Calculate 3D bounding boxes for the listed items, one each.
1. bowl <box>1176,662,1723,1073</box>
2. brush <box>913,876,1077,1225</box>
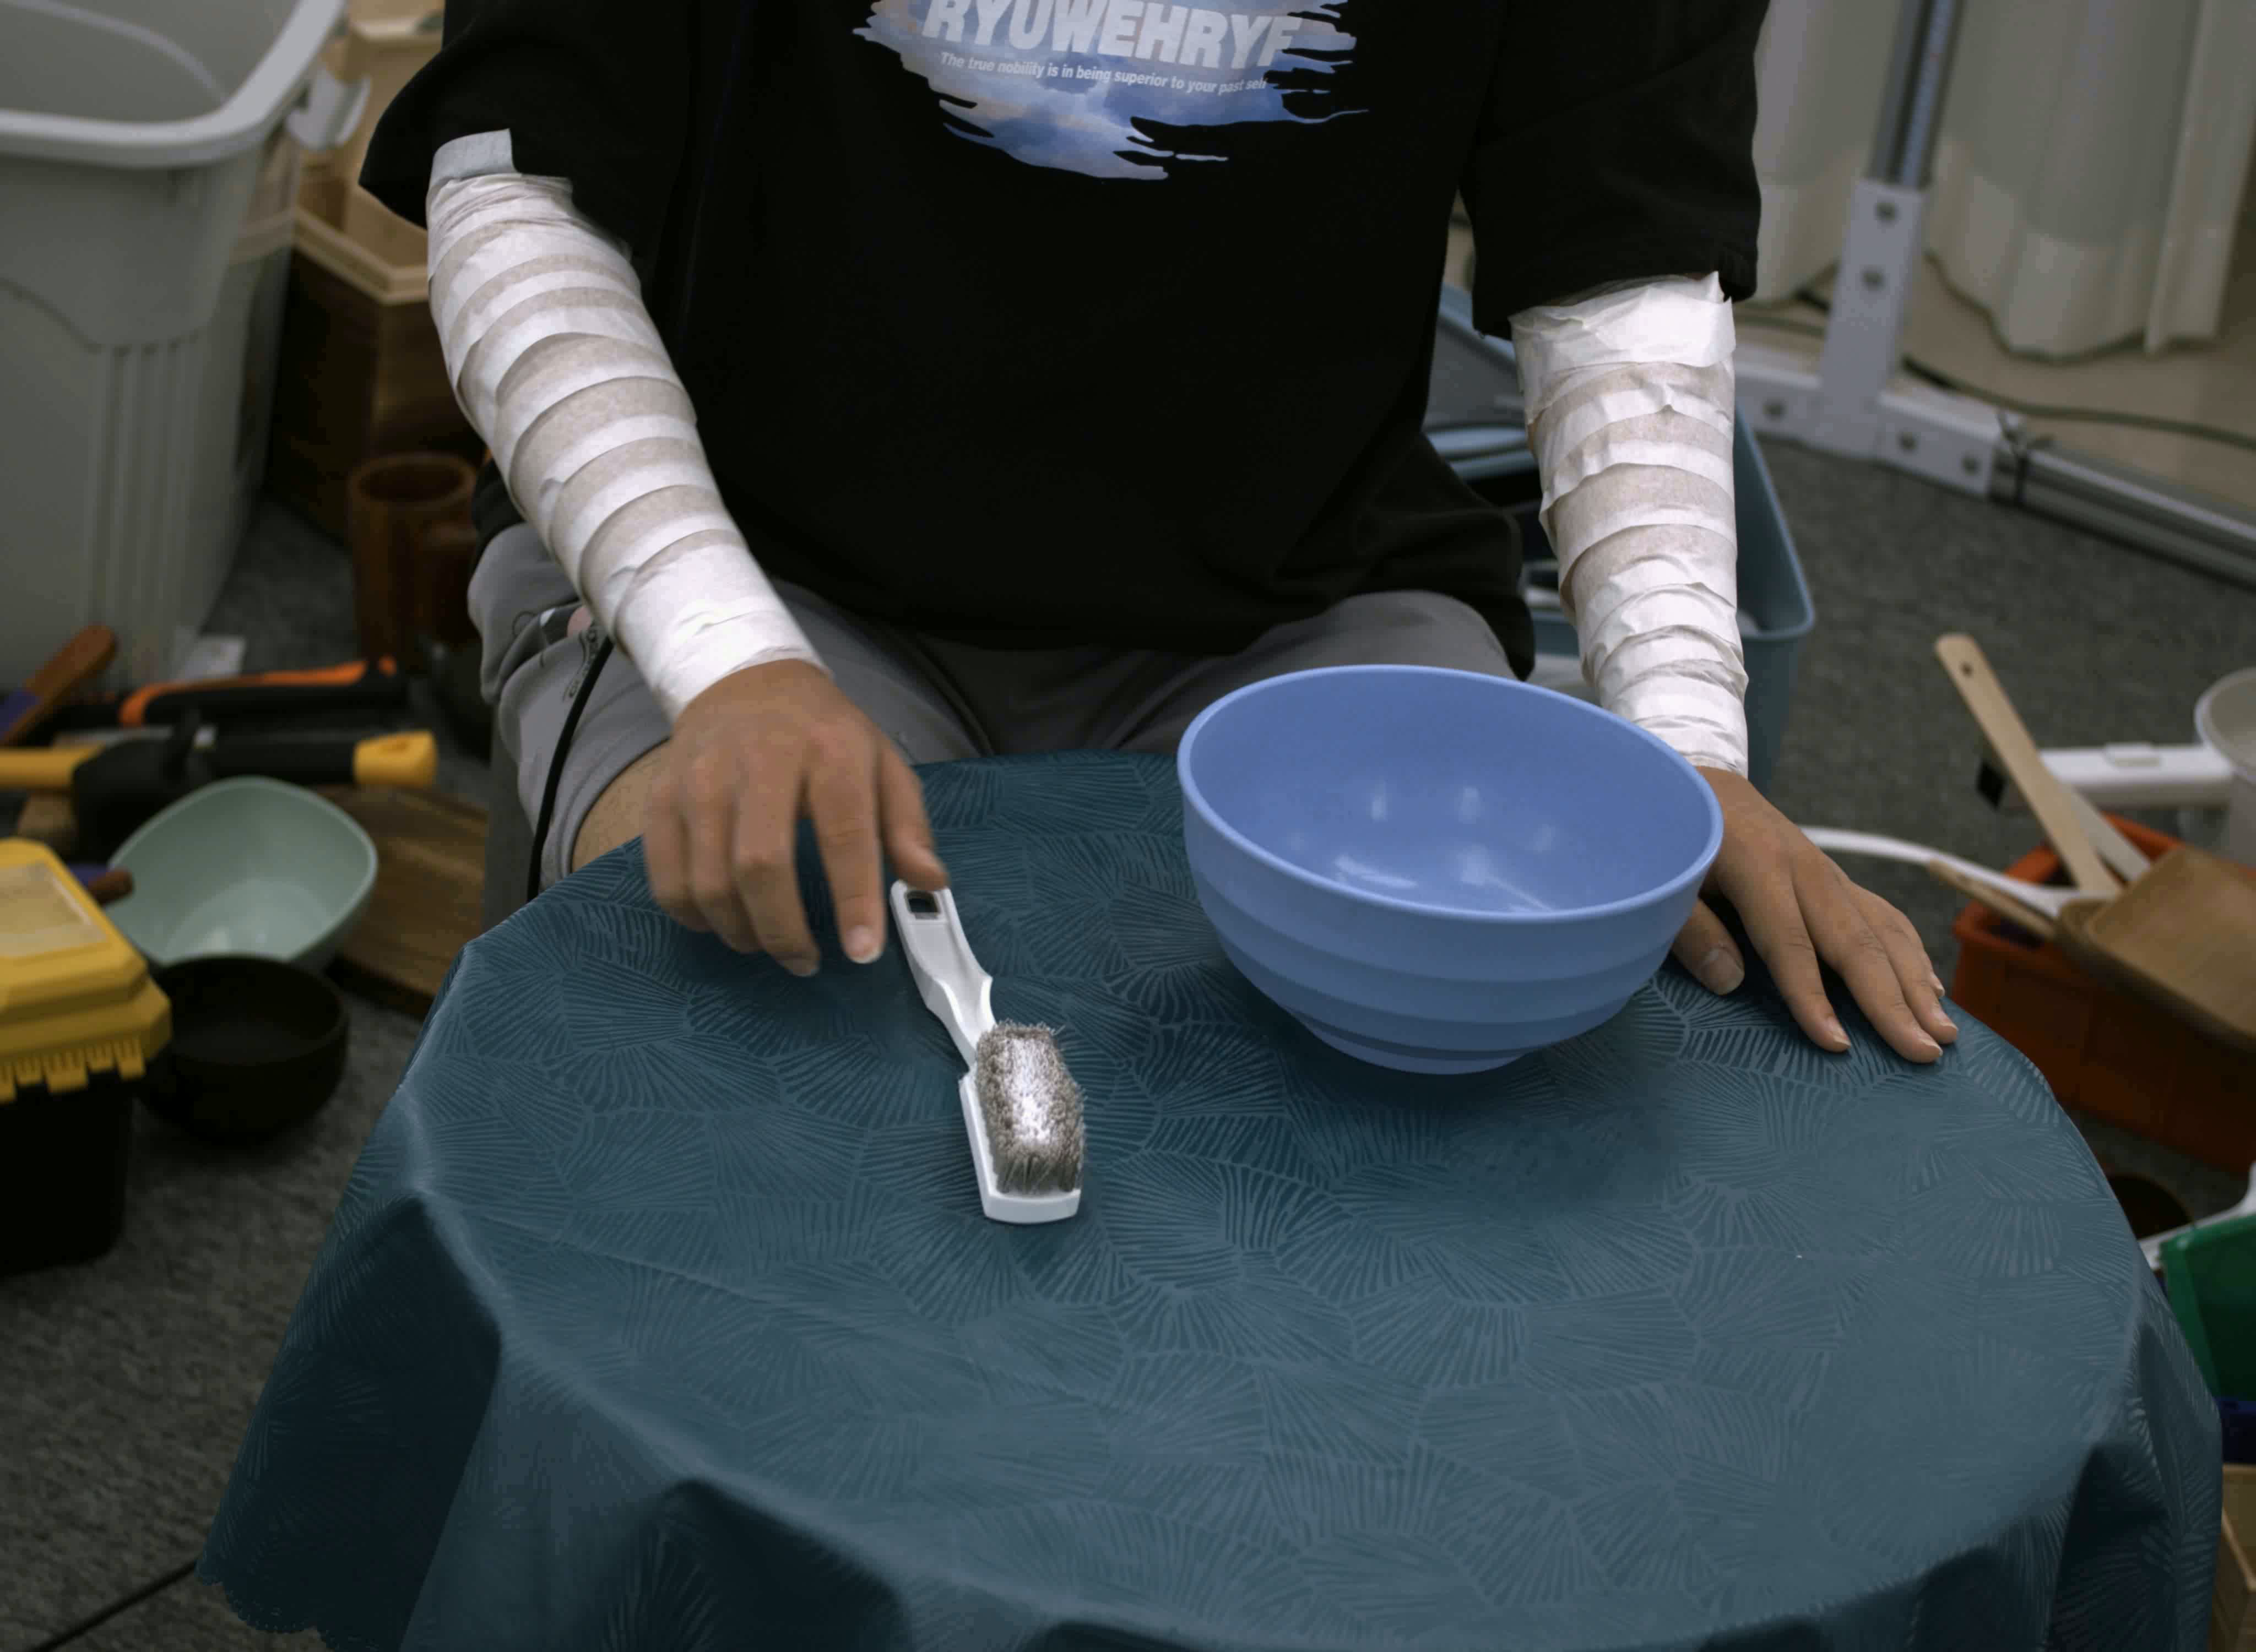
[{"bbox_3d":[0.110,0.025,1.916,0.196,0.095,0.198,4,28,-3],"label":"bowl"},{"bbox_3d":[-0.049,0.060,1.863,0.034,0.050,0.245,-1,28,-9],"label":"brush"}]
